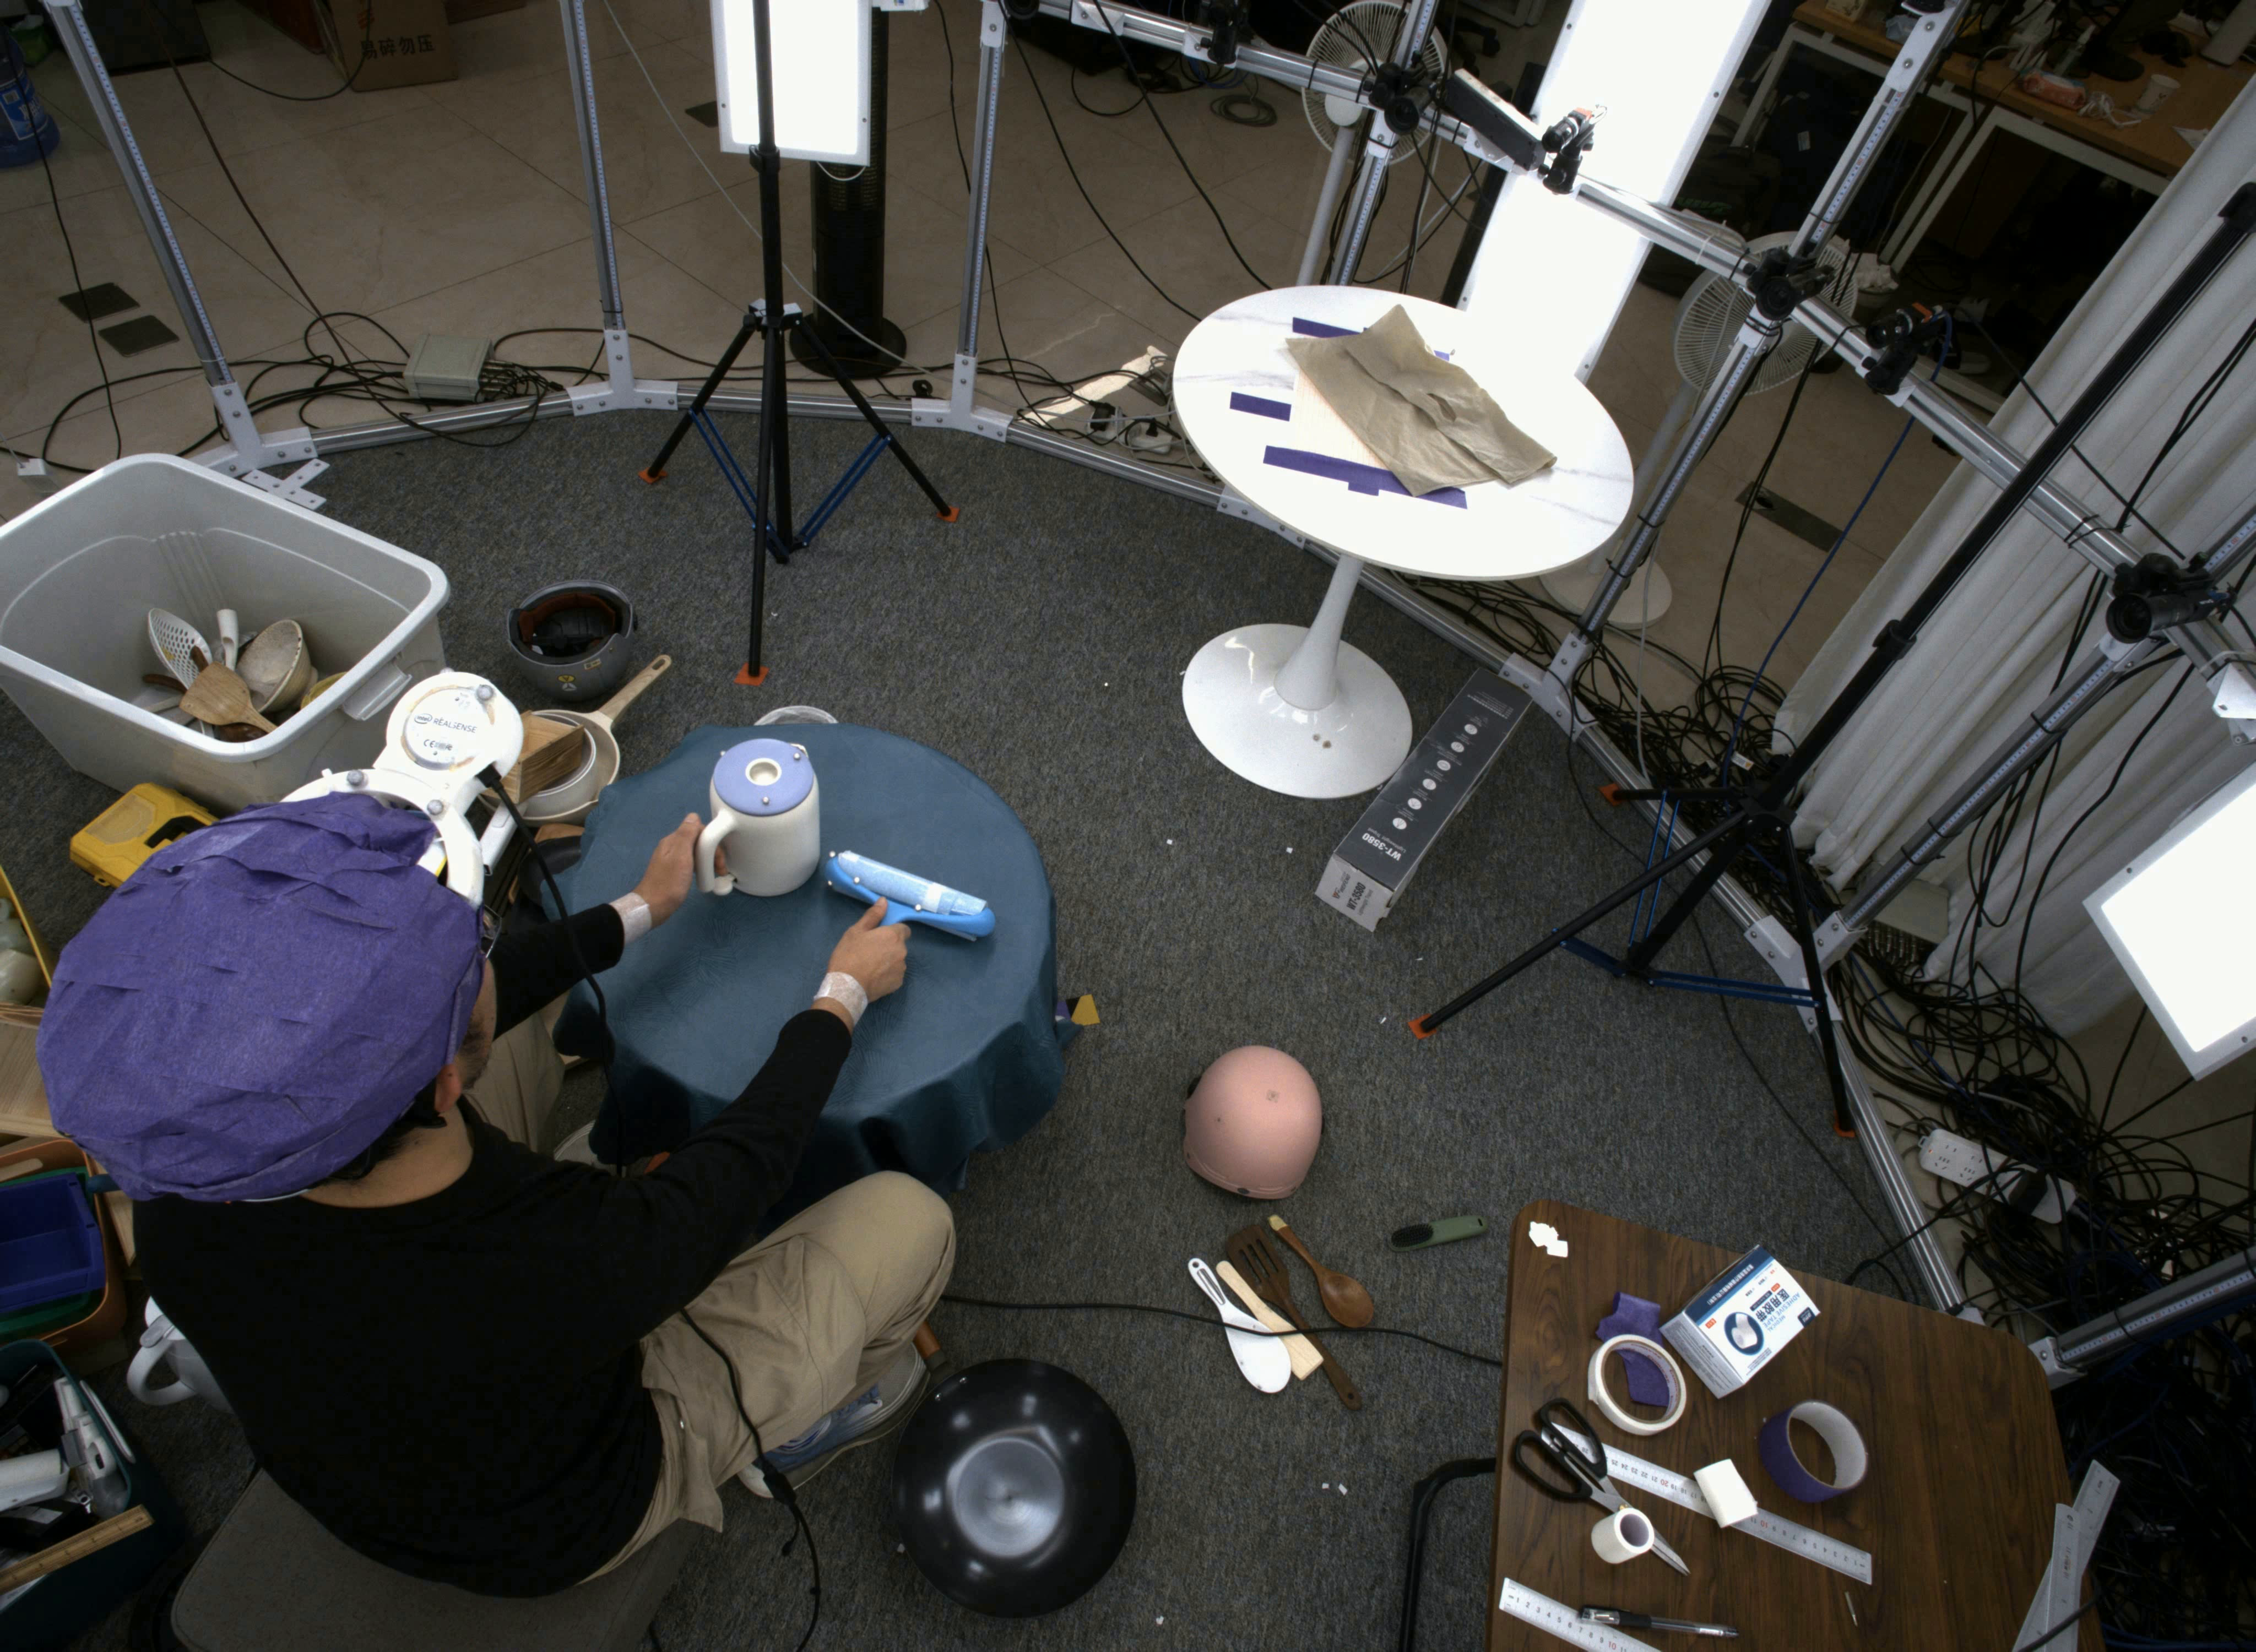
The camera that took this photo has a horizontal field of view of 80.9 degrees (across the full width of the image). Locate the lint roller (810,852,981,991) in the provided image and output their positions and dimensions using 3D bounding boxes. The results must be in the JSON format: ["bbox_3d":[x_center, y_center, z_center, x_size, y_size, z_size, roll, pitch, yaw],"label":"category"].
[{"bbox_3d":[-0.306,0.122,1.608,0.228,0.069,0.177,20,38,-3],"label":"lint roller"}]

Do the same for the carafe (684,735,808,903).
[{"bbox_3d":[-0.479,0.005,1.589,0.130,0.186,0.190,29,54,11],"label":"carafe"}]
